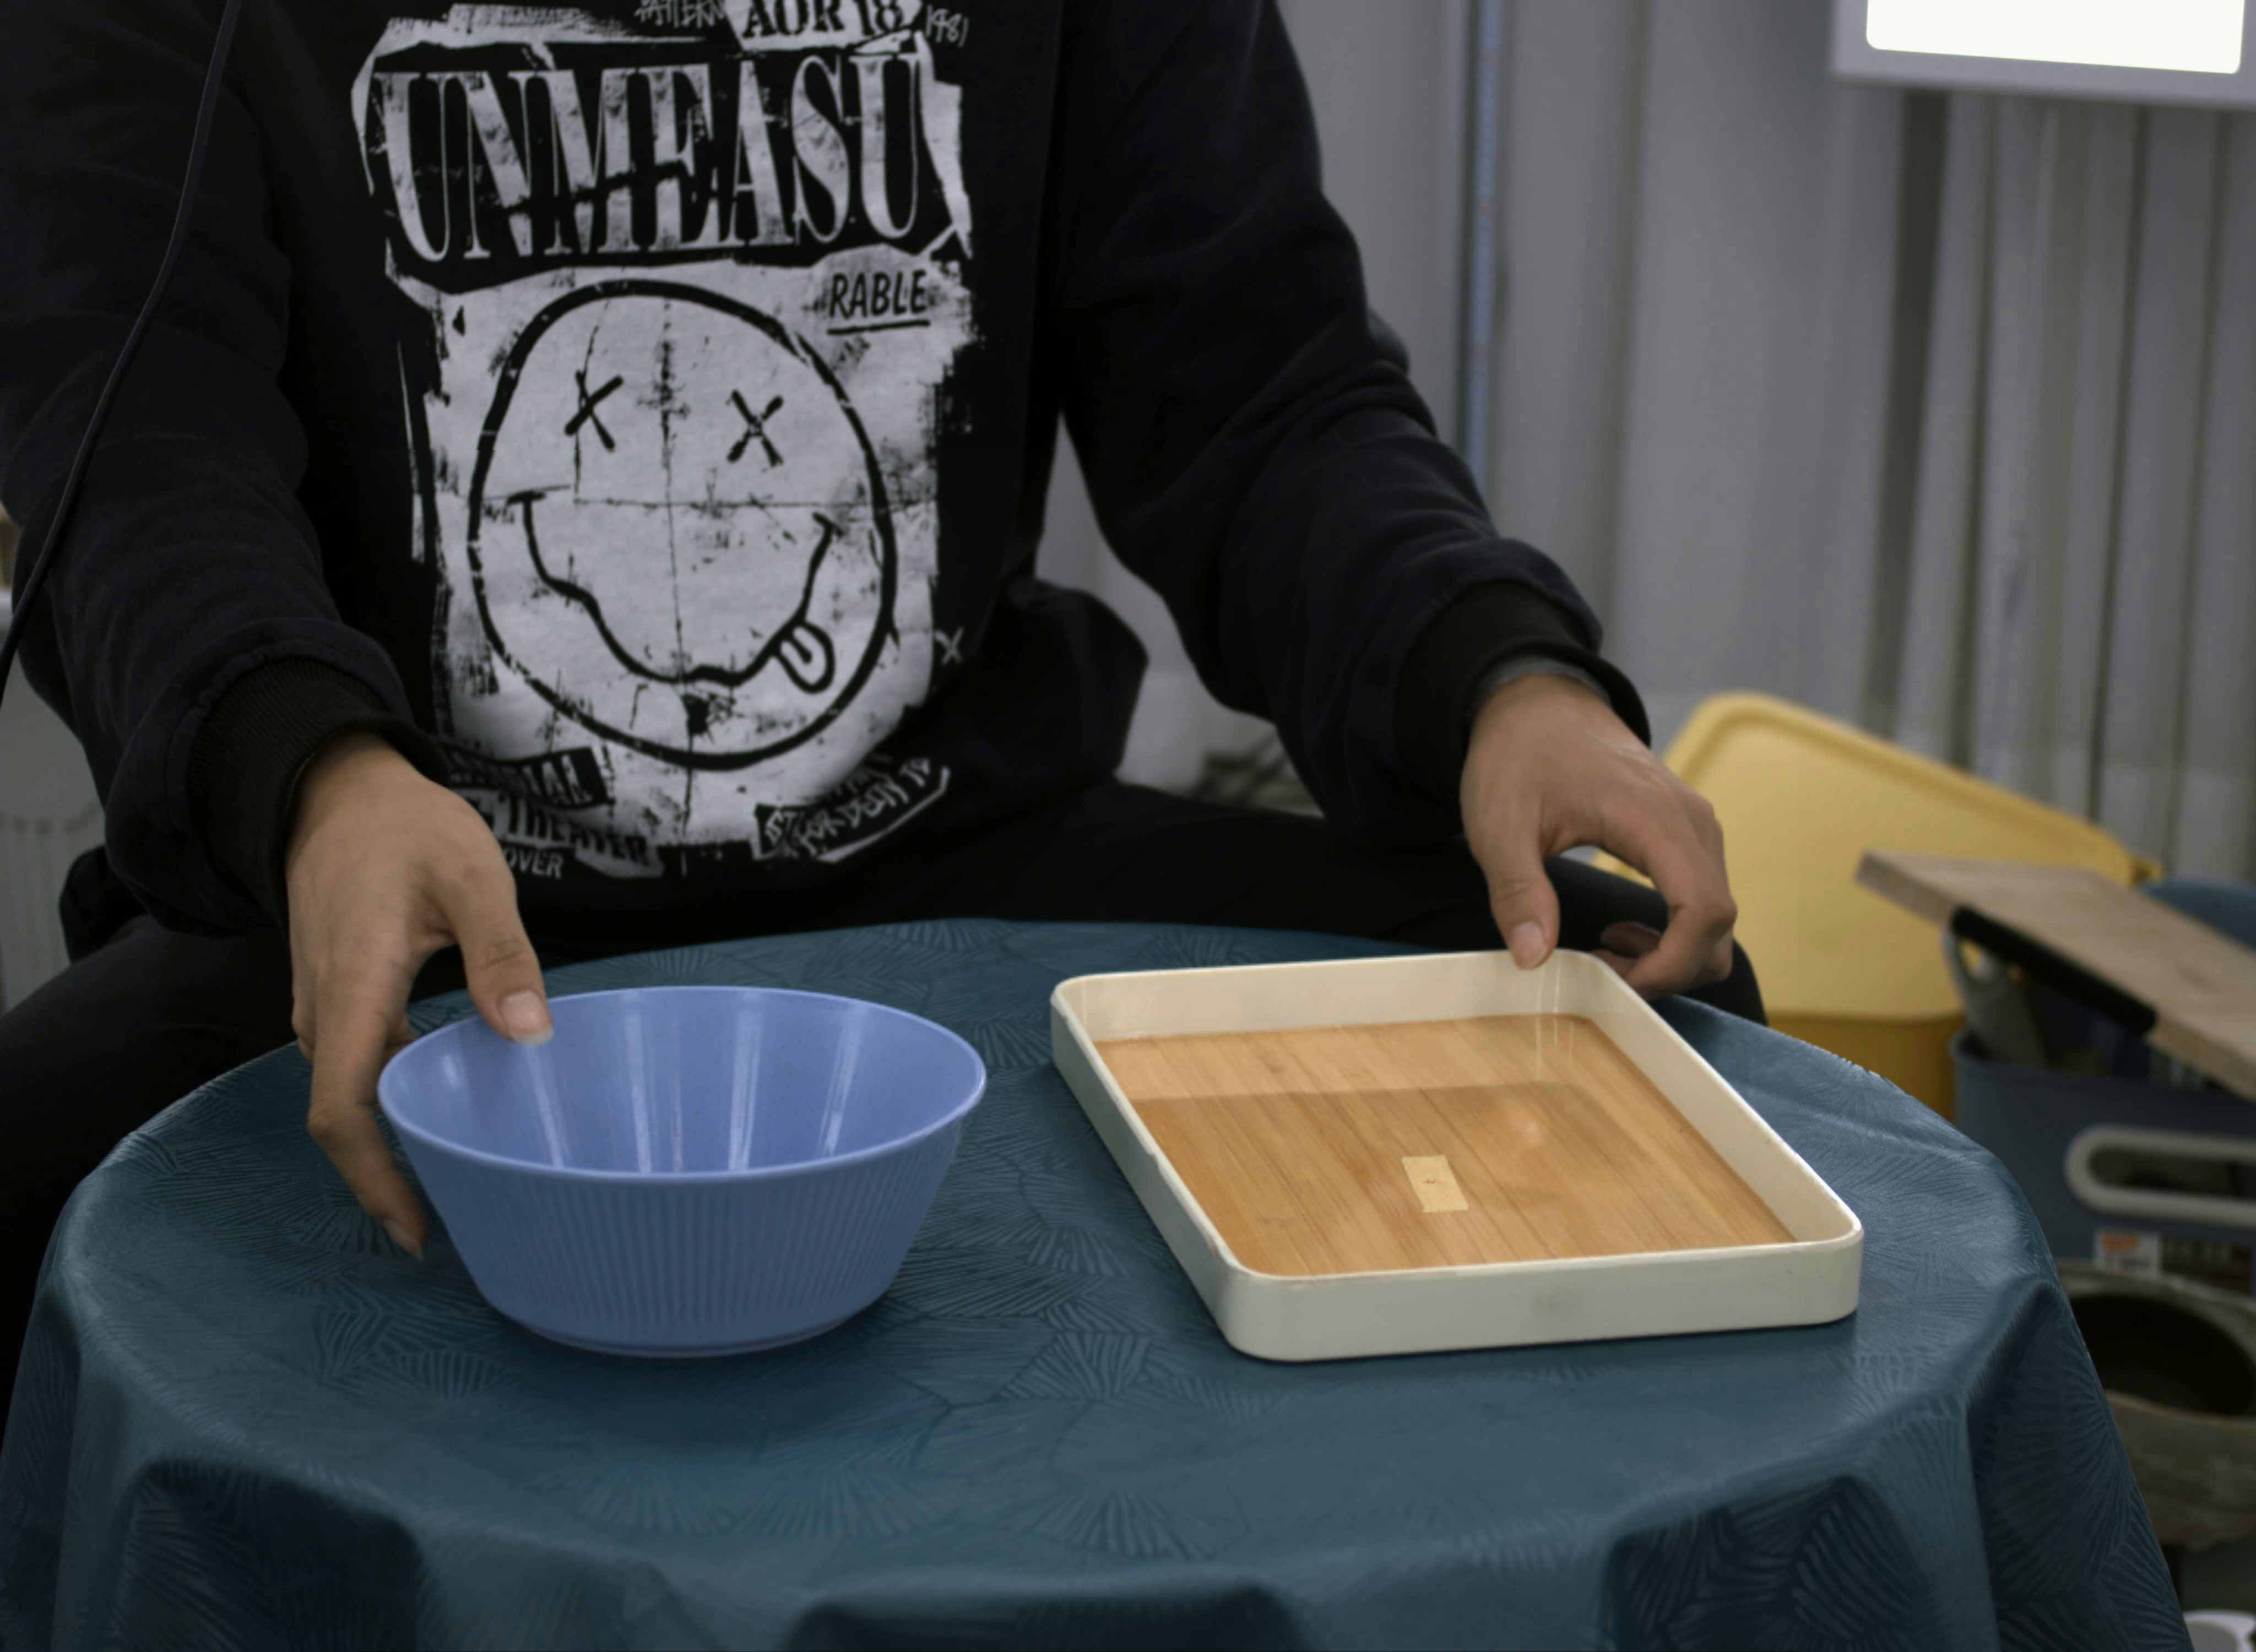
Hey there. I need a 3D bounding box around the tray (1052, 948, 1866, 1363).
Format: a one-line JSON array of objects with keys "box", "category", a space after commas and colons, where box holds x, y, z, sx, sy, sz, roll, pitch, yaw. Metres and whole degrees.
[{"box": [0.094, 0.097, 1.636, 0.192, 0.027, 0.297, -2, 16, -12], "category": "tray"}]

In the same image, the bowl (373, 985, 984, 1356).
[{"box": [-0.130, 0.102, 1.526, 0.175, 0.071, 0.175, 2, 16, 0], "category": "bowl"}]
